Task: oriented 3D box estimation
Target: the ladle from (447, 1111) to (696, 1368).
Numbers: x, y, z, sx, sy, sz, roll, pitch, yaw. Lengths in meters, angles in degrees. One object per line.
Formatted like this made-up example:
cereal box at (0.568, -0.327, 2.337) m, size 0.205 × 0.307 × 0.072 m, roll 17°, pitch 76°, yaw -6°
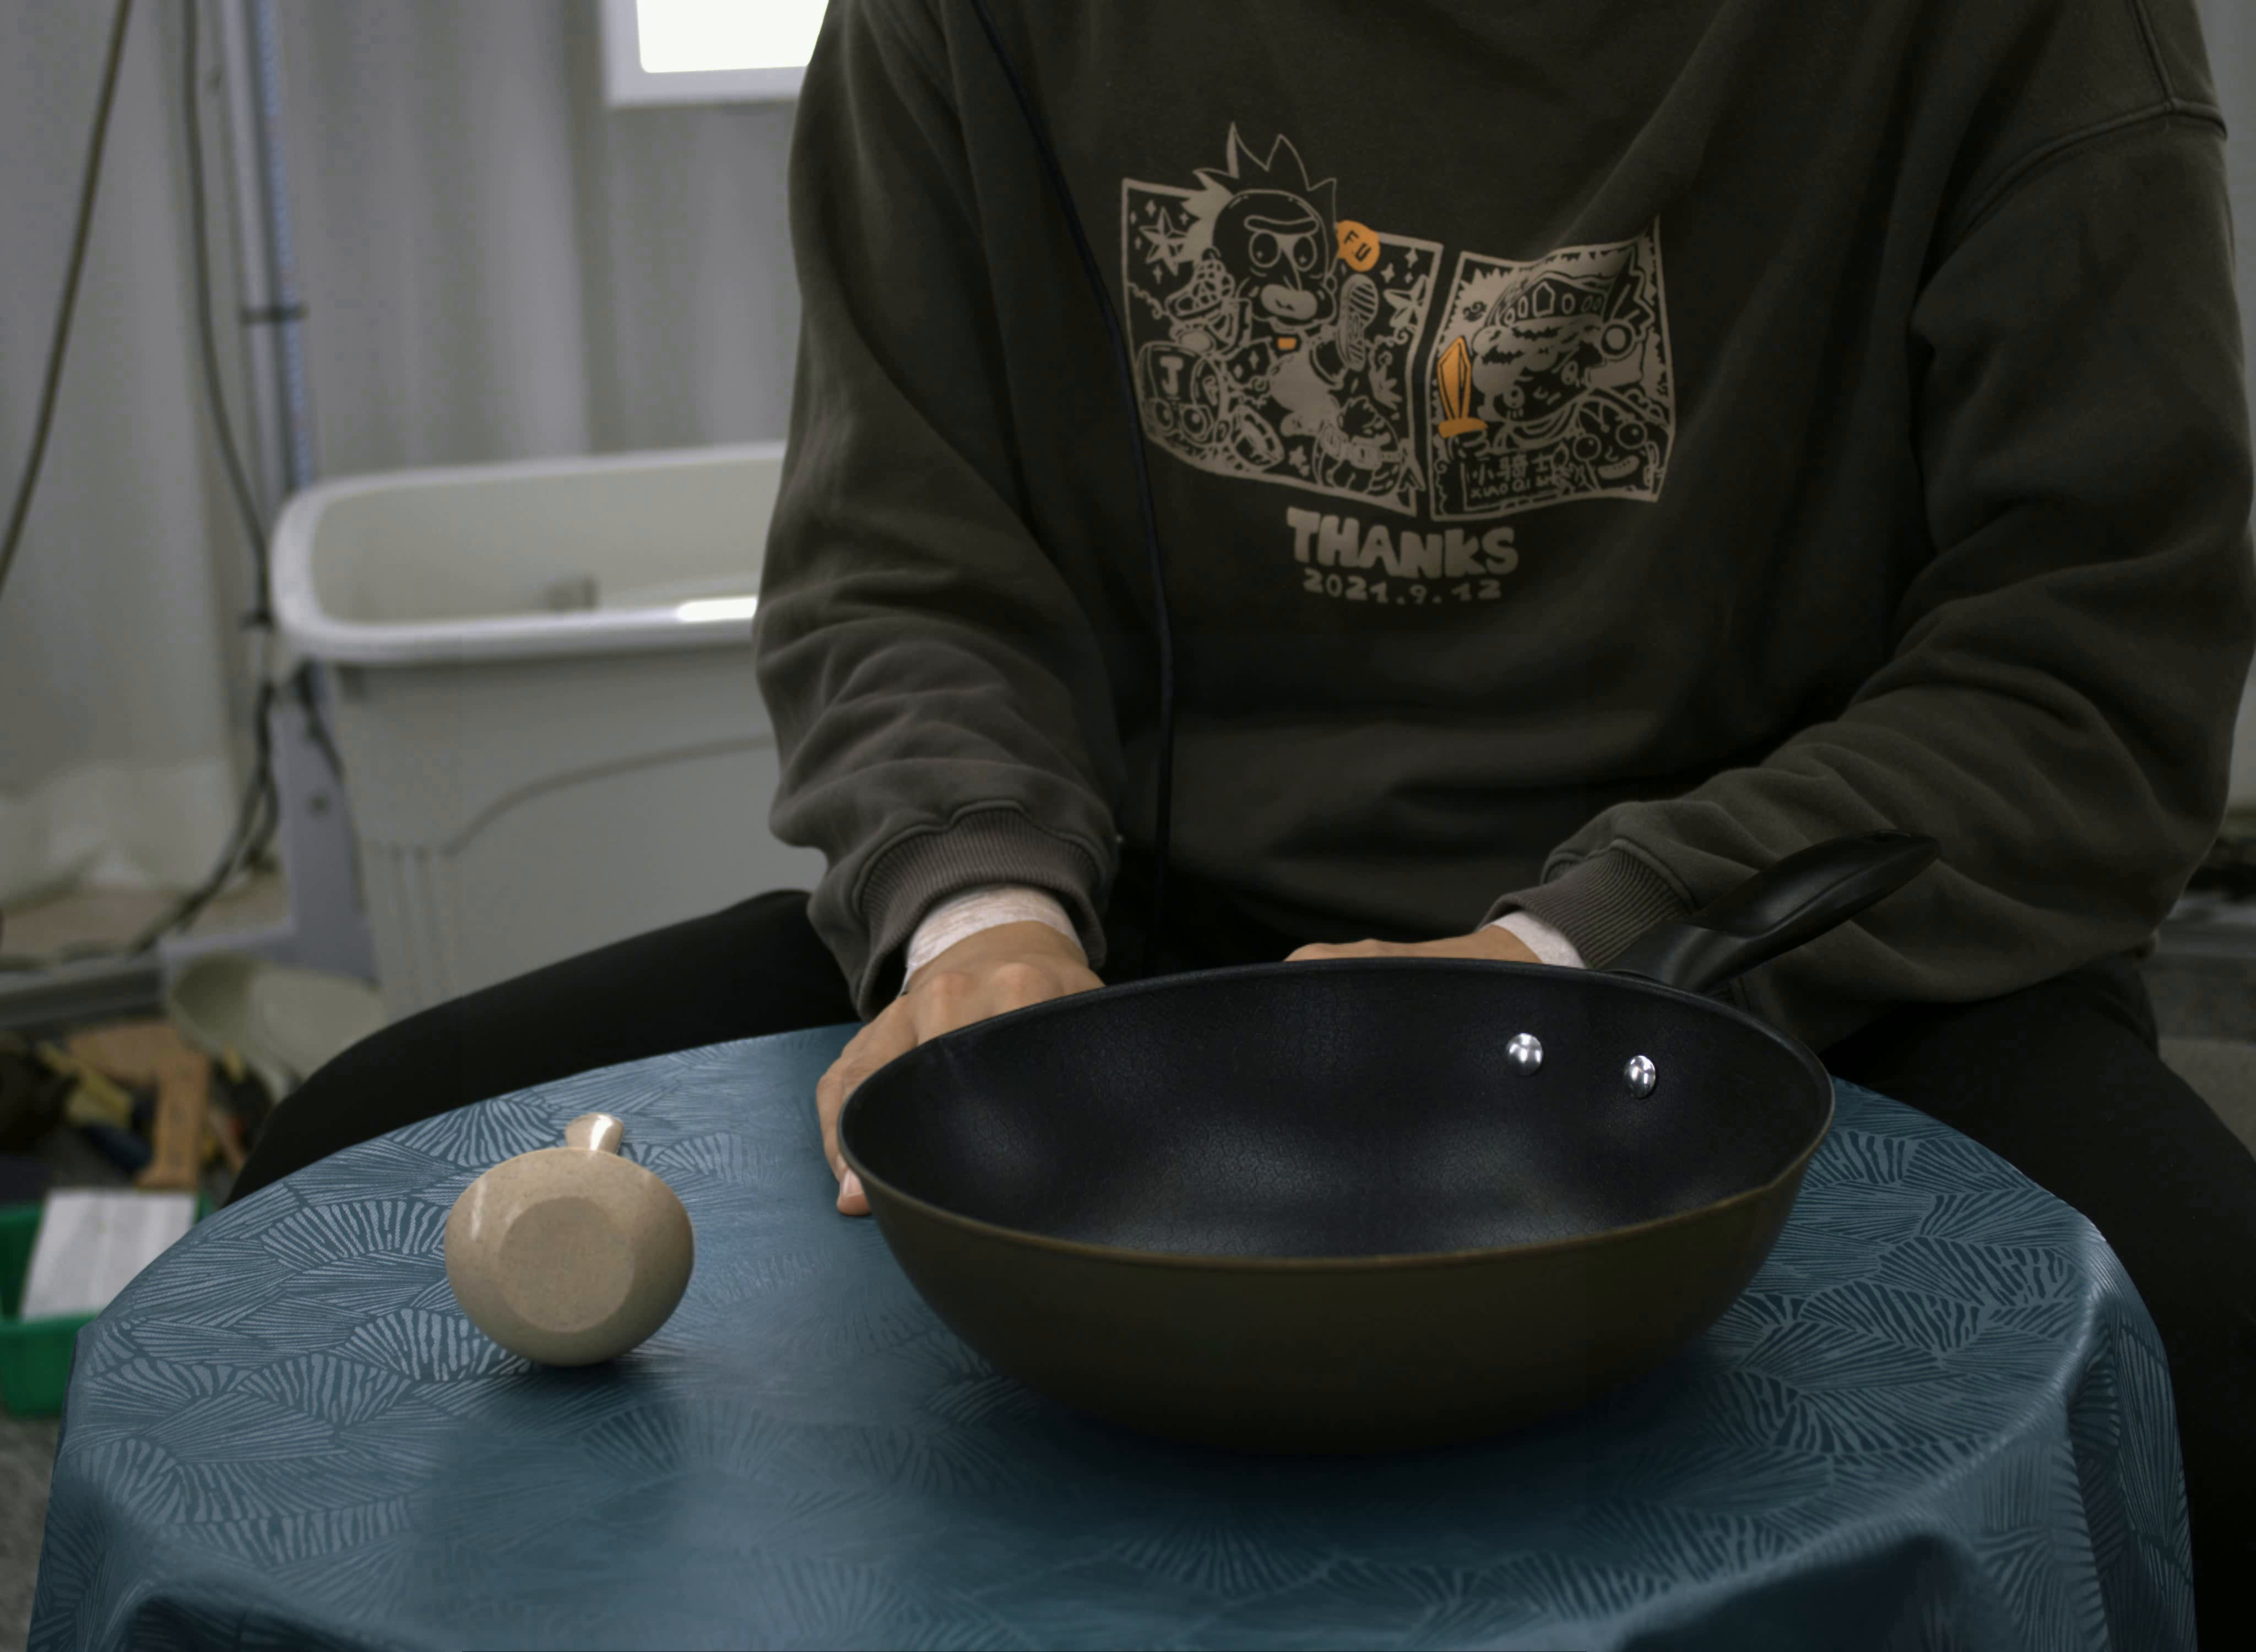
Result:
ladle at (-0.173, 0.097, 1.682) m, size 0.072 × 0.072 × 0.256 m, roll -10°, pitch 16°, yaw -4°

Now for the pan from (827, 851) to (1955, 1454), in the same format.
pan at (0.113, 0.093, 1.621) m, size 0.289 × 0.086 × 0.463 m, roll 8°, pitch 18°, yaw 37°
